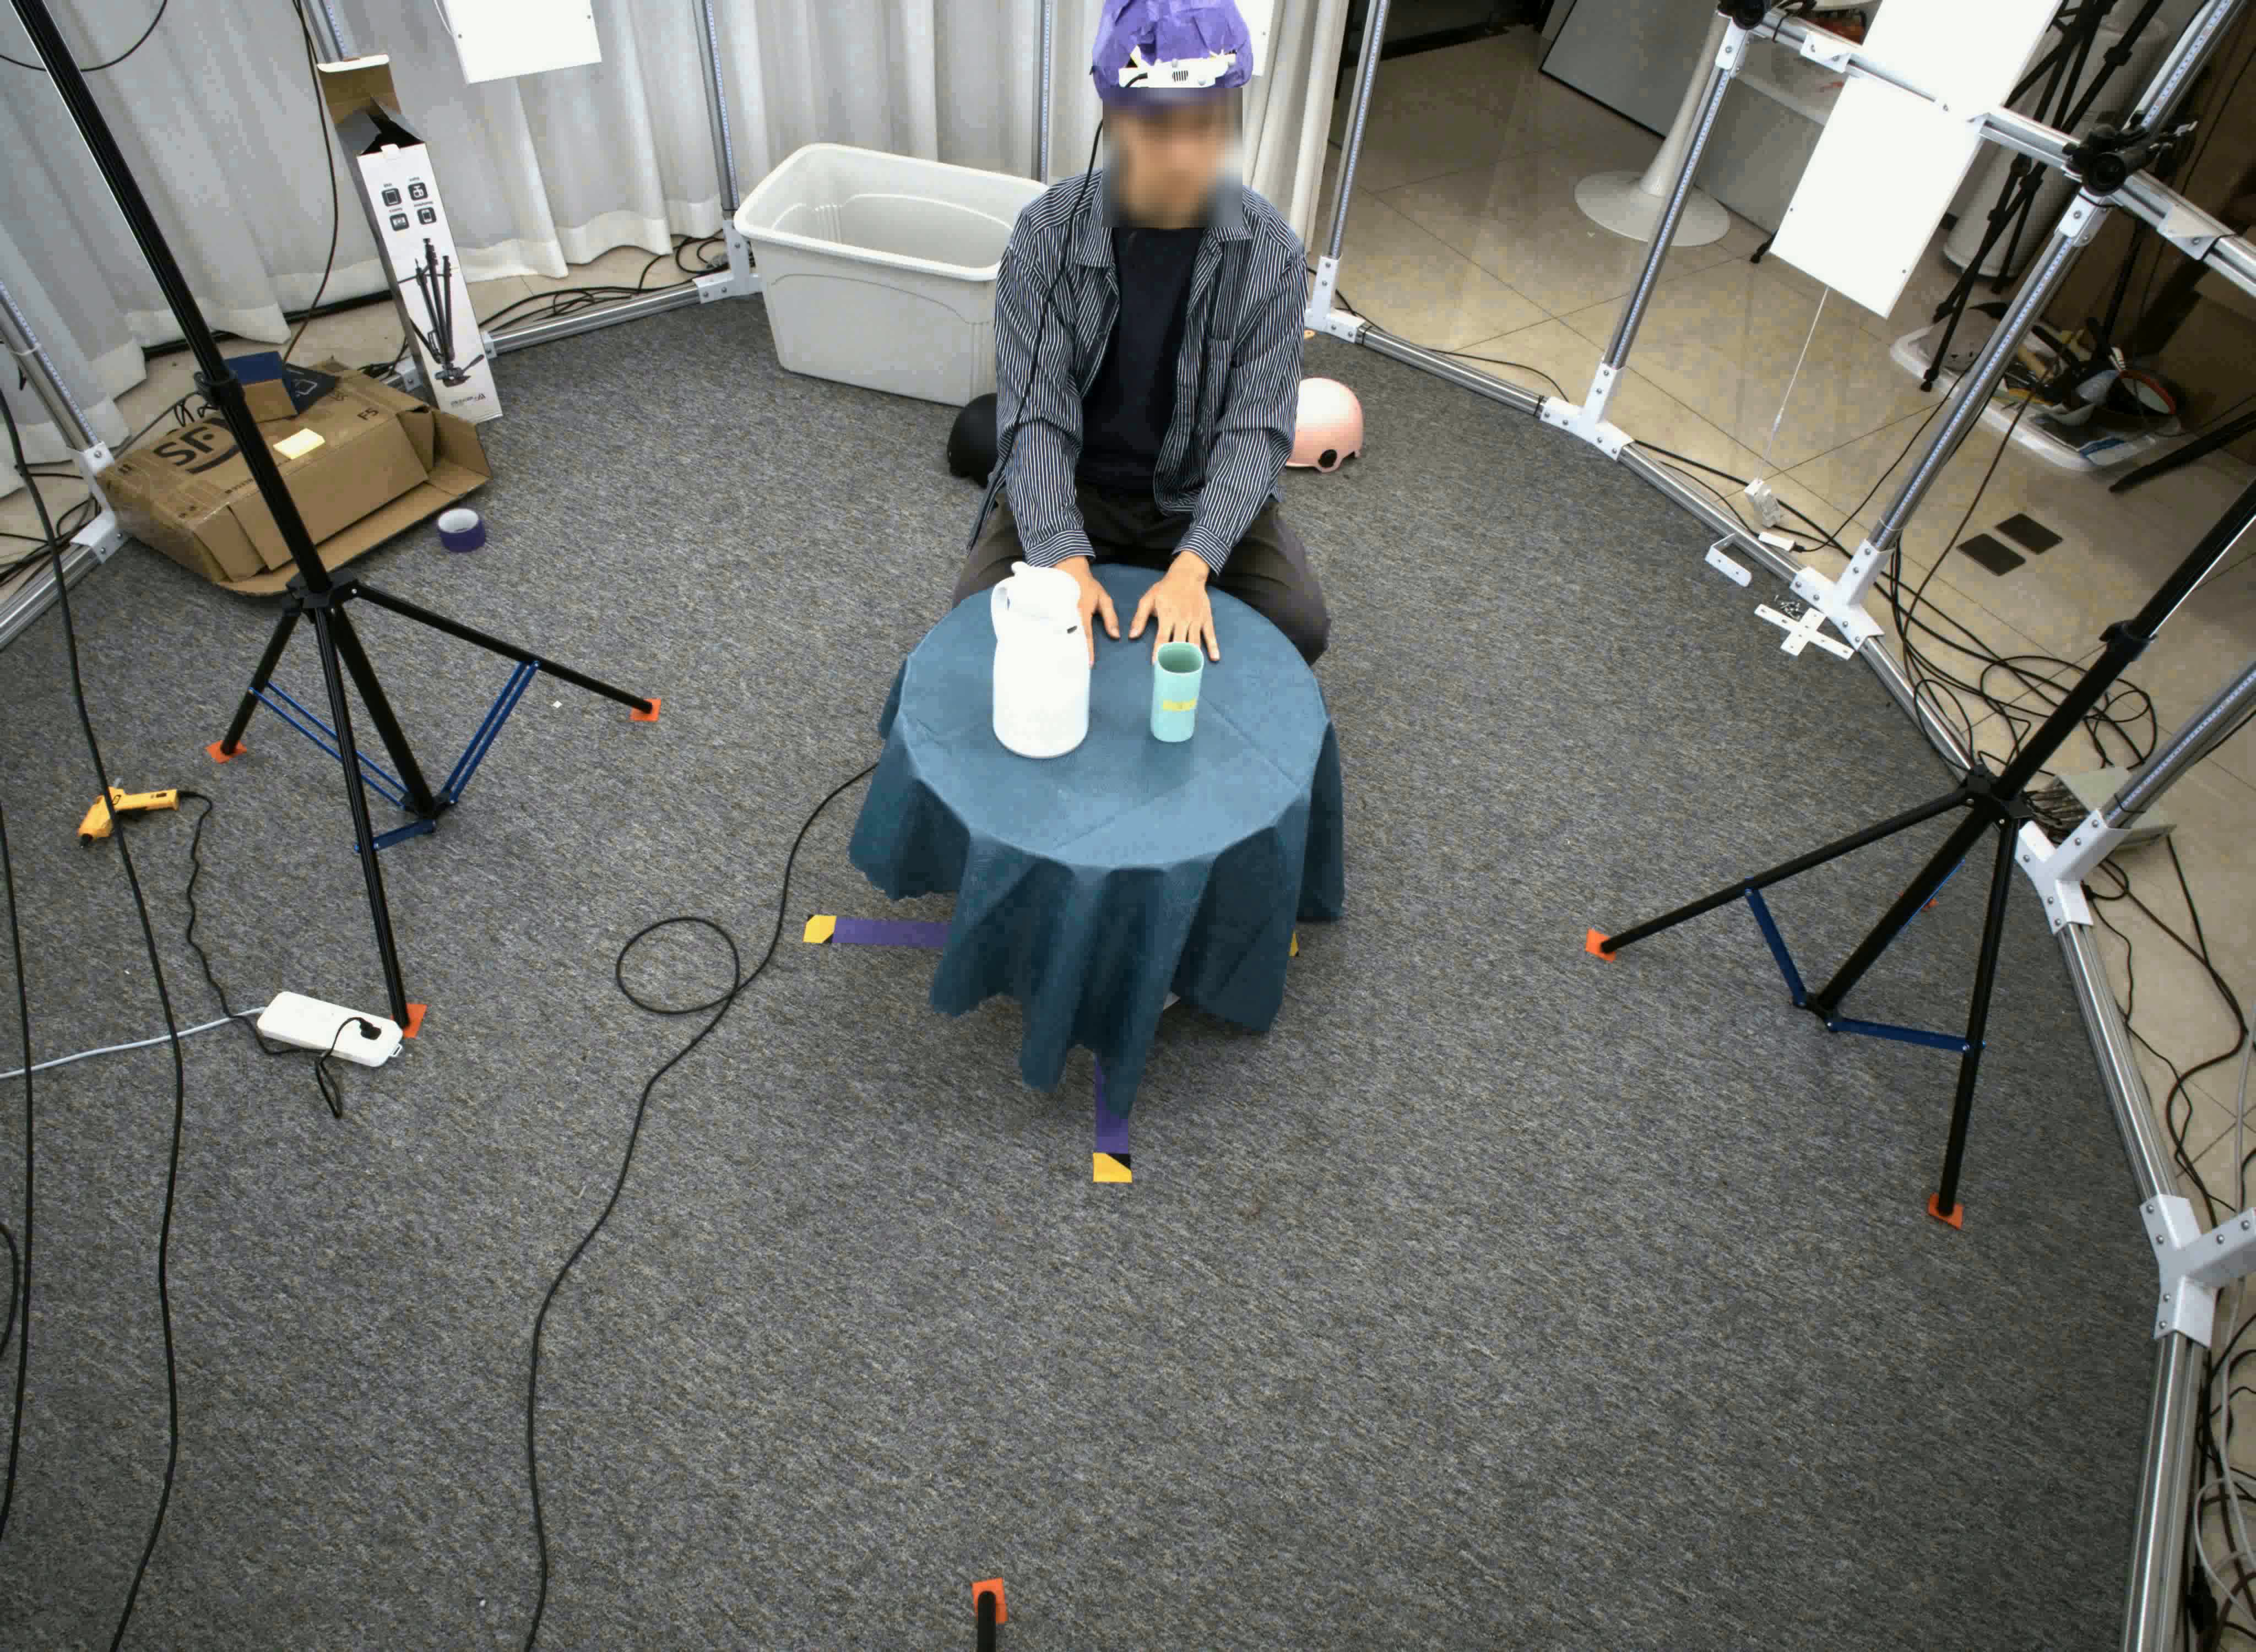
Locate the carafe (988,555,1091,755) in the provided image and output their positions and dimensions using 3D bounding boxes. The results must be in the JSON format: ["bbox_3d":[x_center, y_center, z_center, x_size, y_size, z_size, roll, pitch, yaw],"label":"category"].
[{"bbox_3d":[-0.126,-0.235,1.686,0.133,0.242,0.170,-32,58,-28],"label":"carafe"}]

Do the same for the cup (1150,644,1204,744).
[{"bbox_3d":[0.065,-0.179,1.740,0.066,0.129,0.068,3,49,-3],"label":"cup"}]
